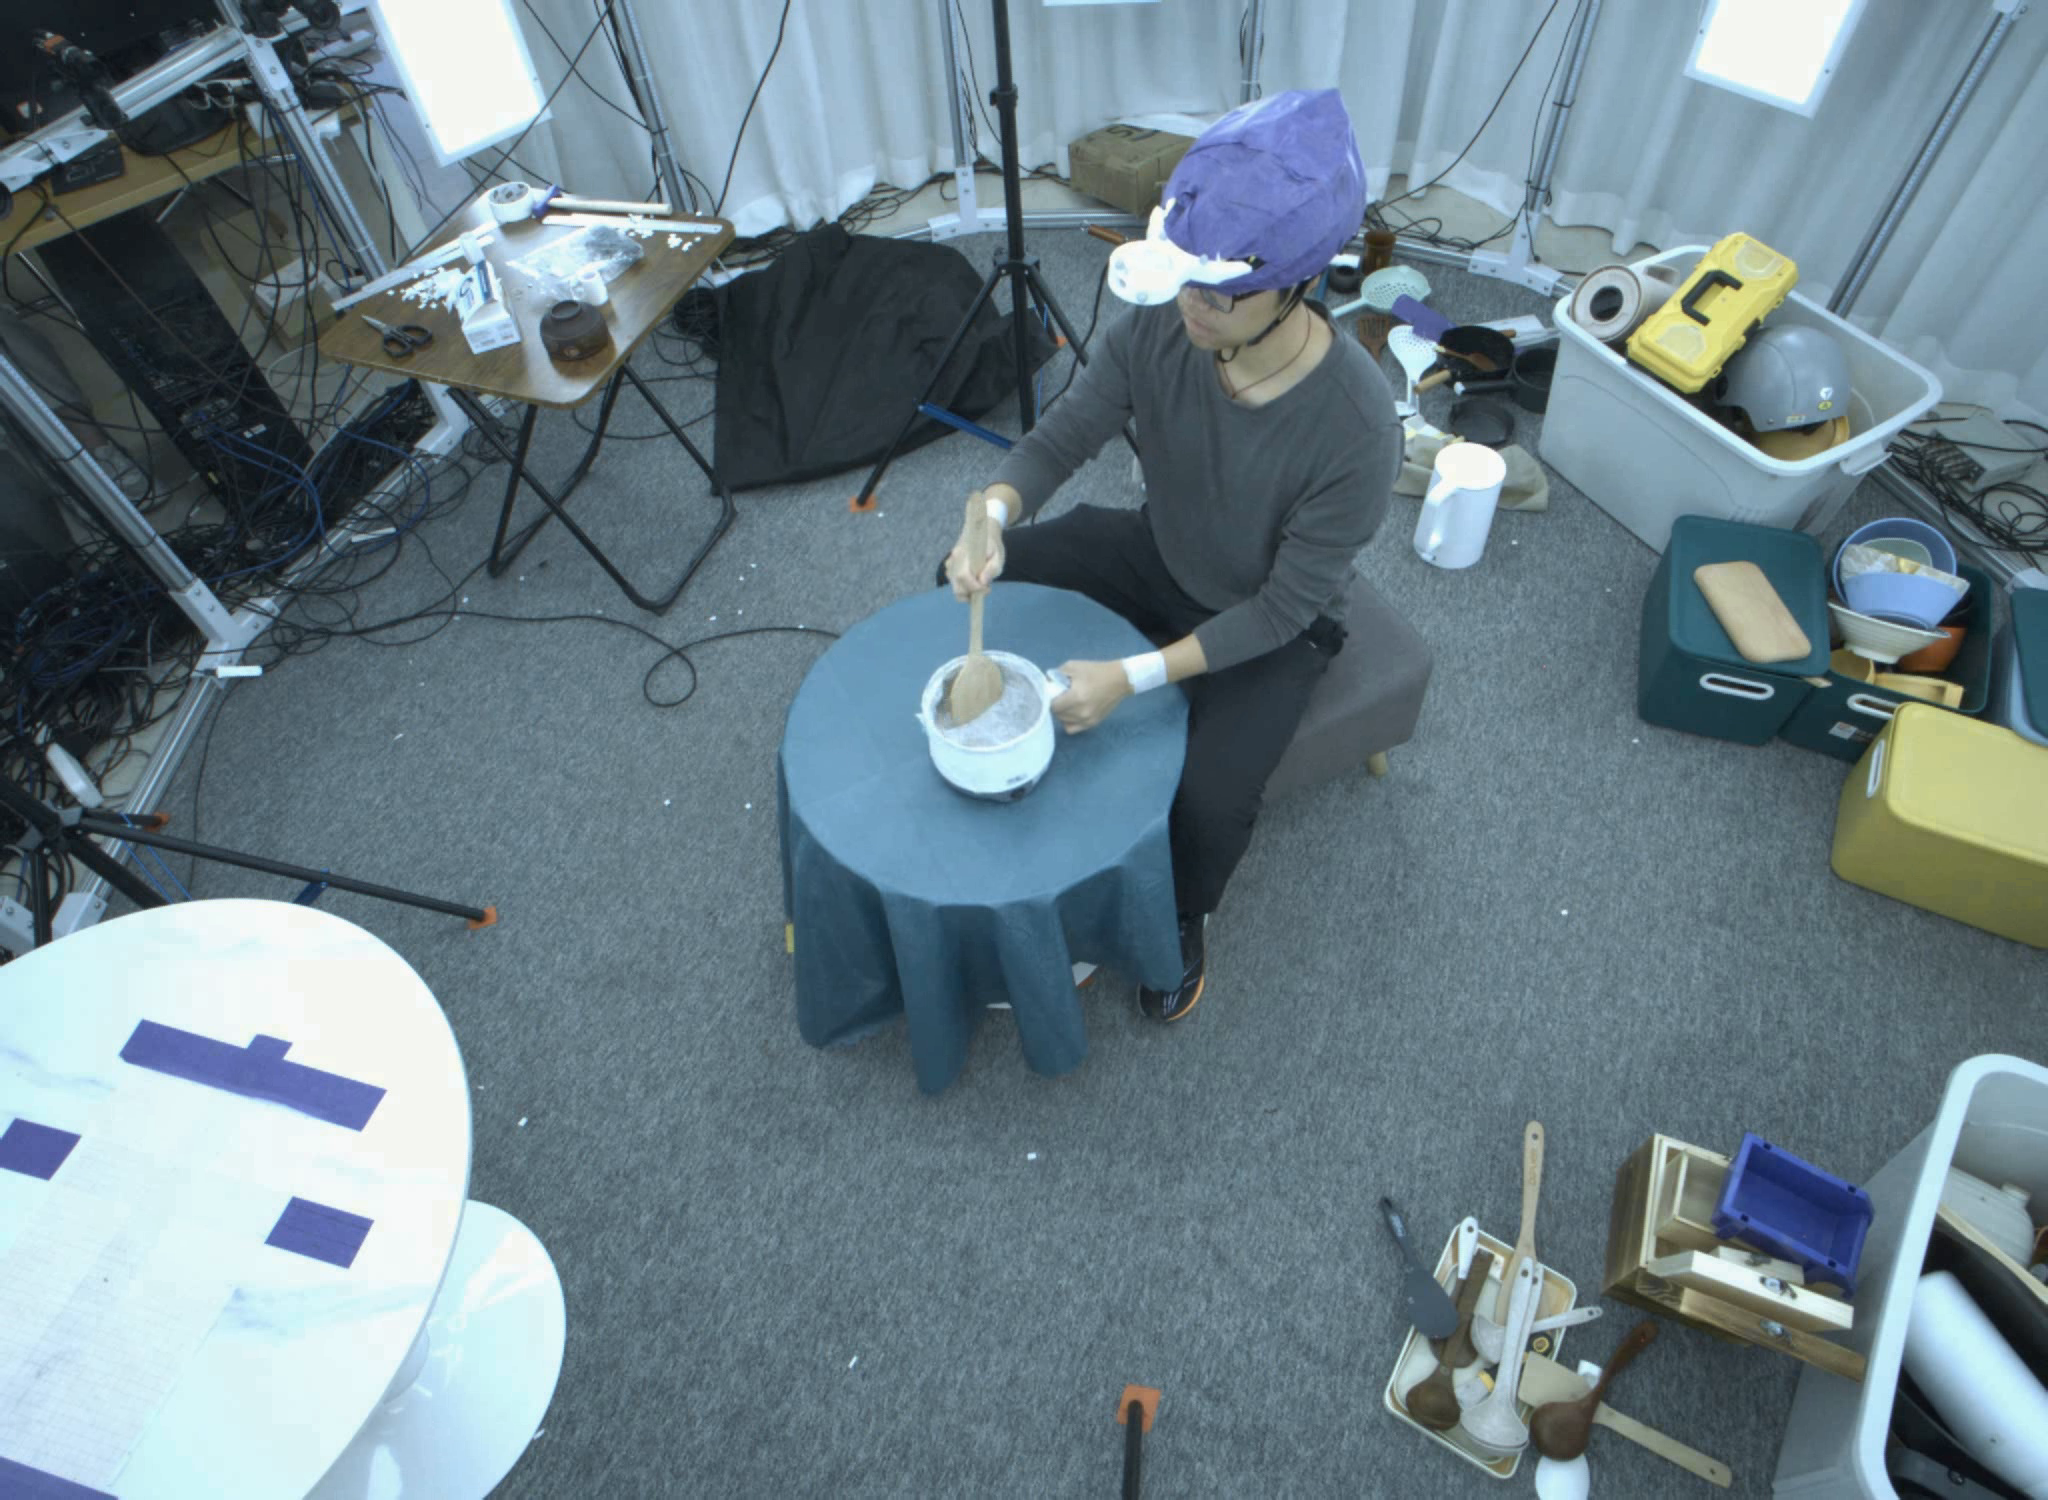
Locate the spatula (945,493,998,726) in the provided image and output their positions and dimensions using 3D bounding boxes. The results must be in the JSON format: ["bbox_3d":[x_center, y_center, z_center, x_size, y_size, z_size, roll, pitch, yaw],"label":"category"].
[{"bbox_3d":[-0.070,-0.178,1.620,0.097,0.394,0.018,-34,60,-28],"label":"spatula"}]

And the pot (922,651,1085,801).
[{"bbox_3d":[-0.024,-0.043,1.742,0.235,0.138,0.175,-23,57,-14],"label":"pot"}]
